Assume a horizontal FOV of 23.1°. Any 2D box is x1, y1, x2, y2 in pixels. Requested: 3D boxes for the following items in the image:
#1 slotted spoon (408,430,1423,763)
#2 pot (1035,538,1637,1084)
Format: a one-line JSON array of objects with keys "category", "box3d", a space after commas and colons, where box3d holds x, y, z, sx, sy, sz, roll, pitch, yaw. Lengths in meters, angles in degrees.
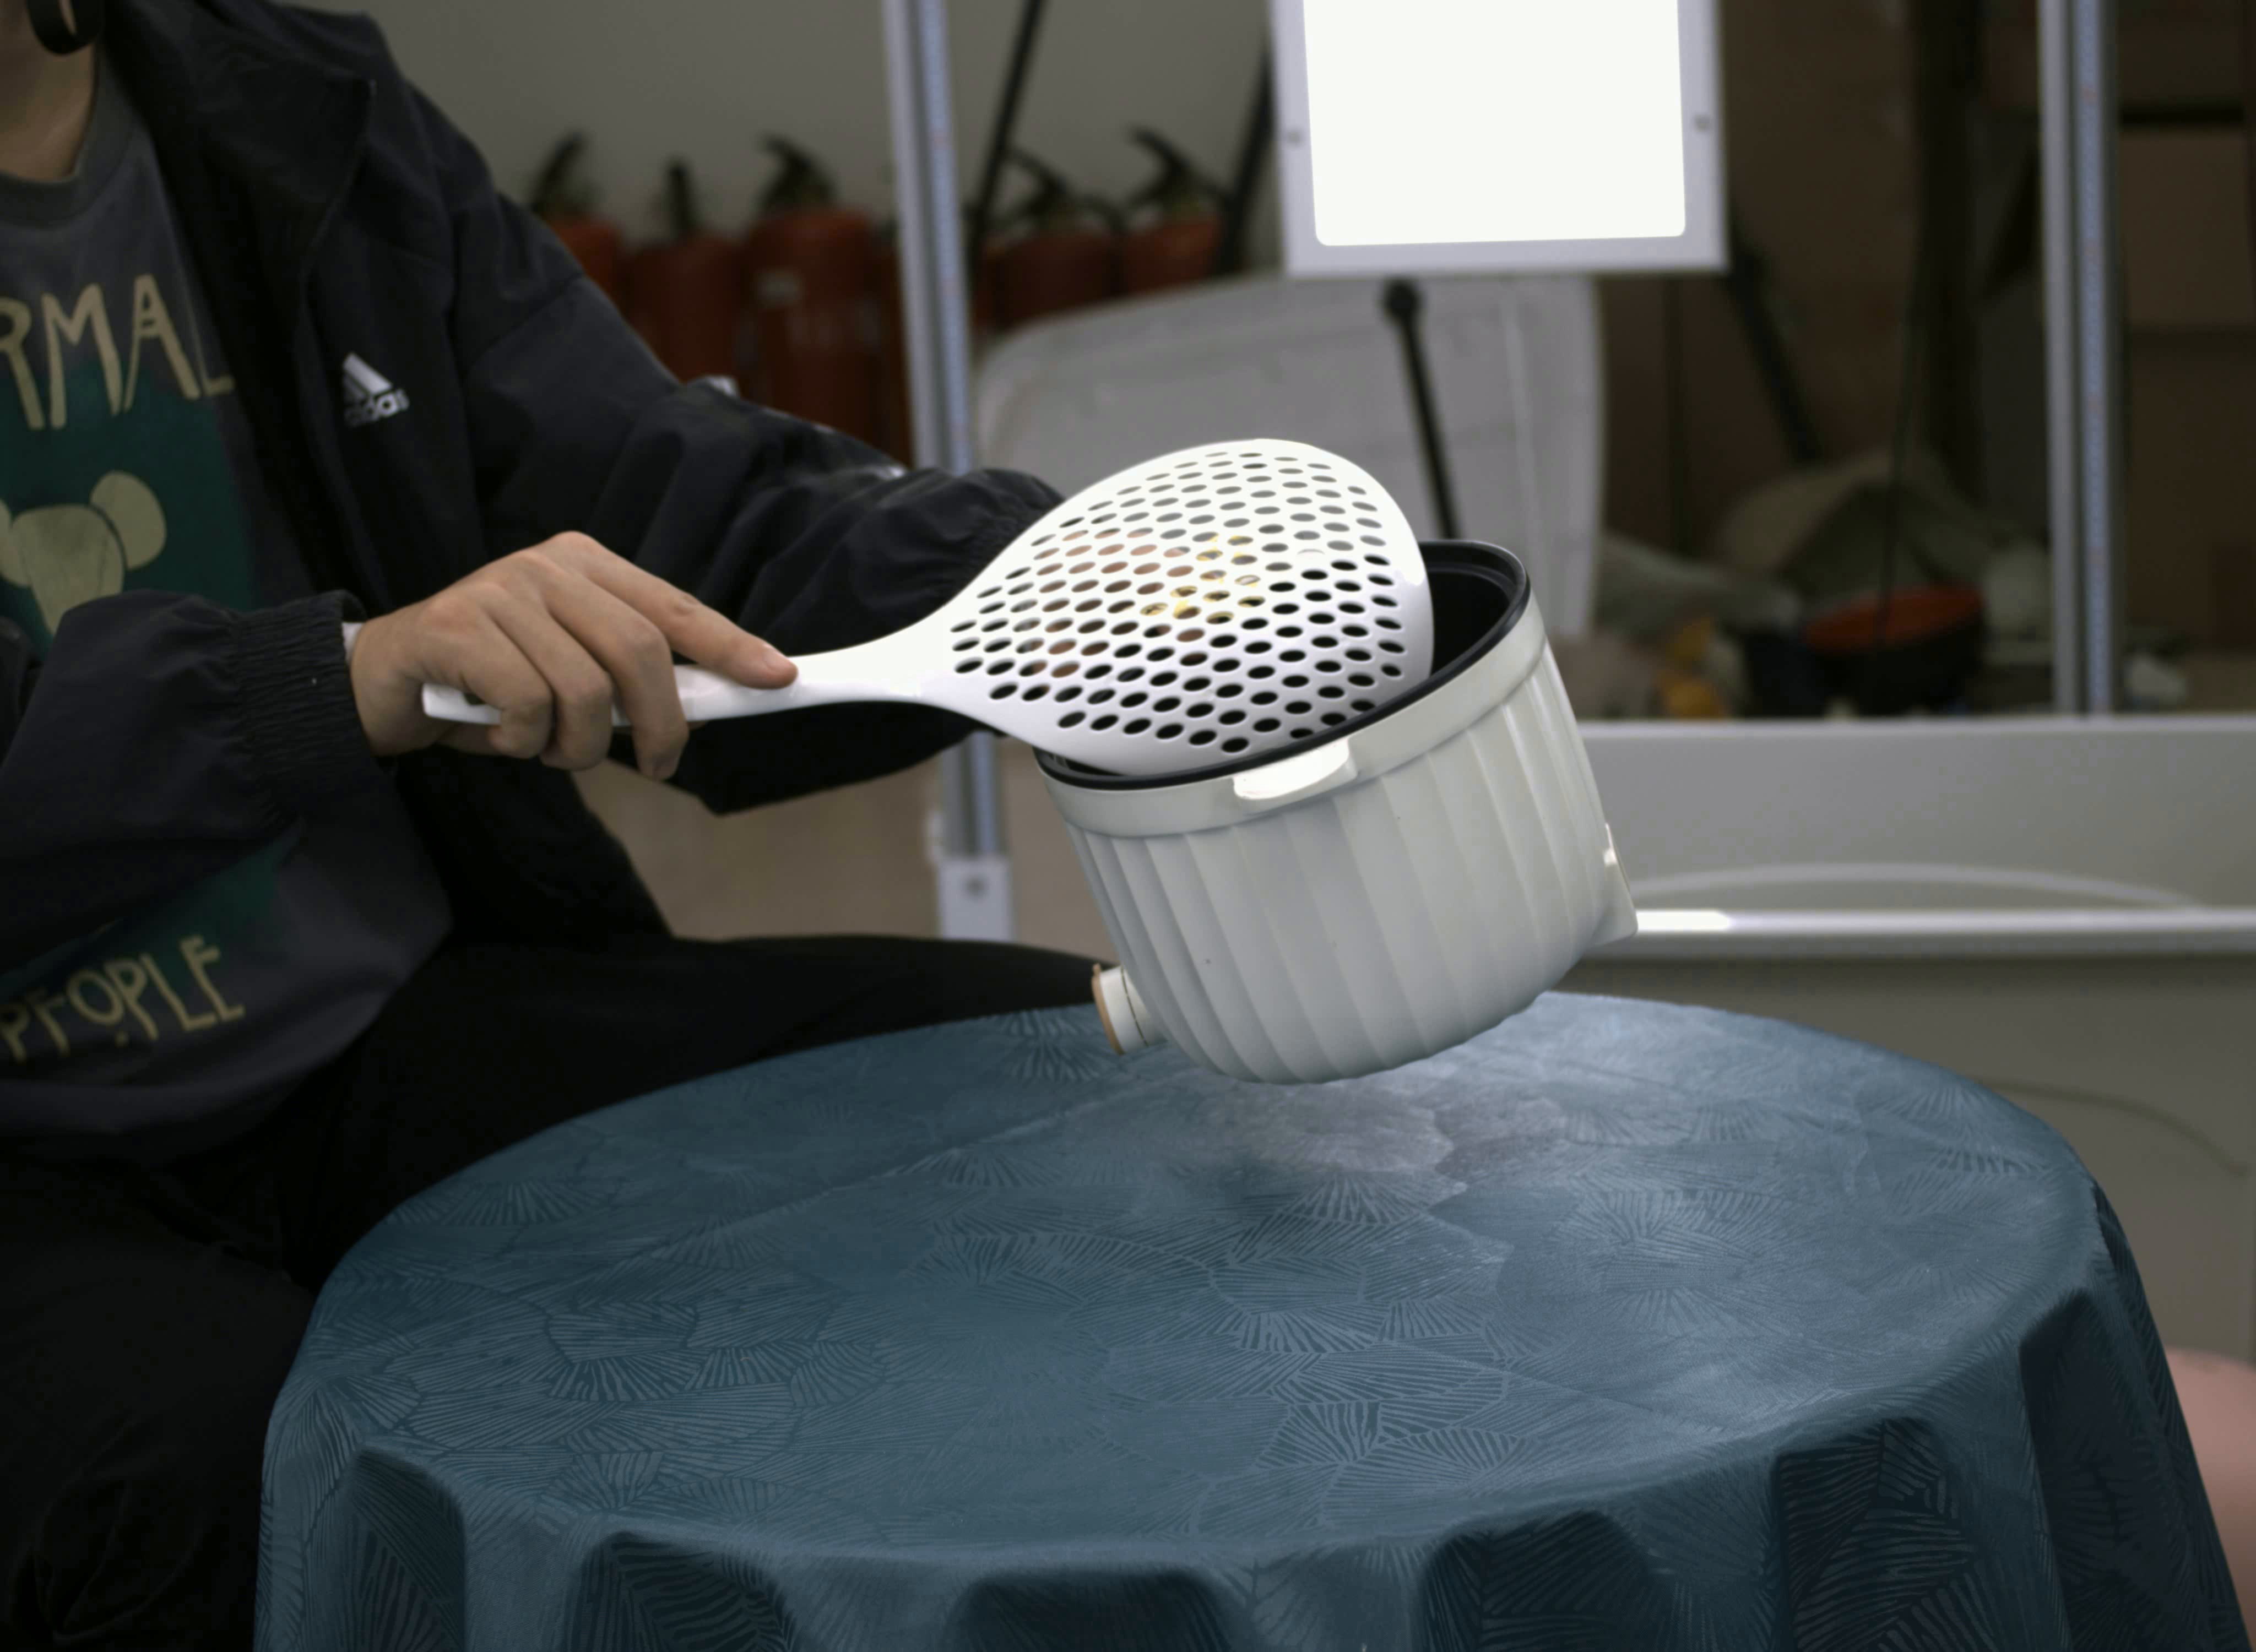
[{"category": "slotted spoon", "box3d": [-0.071, -0.064, 1.890, 0.348, 0.137, 0.050, -9, -20, 4]}, {"category": "pot", "box3d": [0.069, 0.002, 1.903, 0.191, 0.142, 0.239, -16, 19, 6]}]
